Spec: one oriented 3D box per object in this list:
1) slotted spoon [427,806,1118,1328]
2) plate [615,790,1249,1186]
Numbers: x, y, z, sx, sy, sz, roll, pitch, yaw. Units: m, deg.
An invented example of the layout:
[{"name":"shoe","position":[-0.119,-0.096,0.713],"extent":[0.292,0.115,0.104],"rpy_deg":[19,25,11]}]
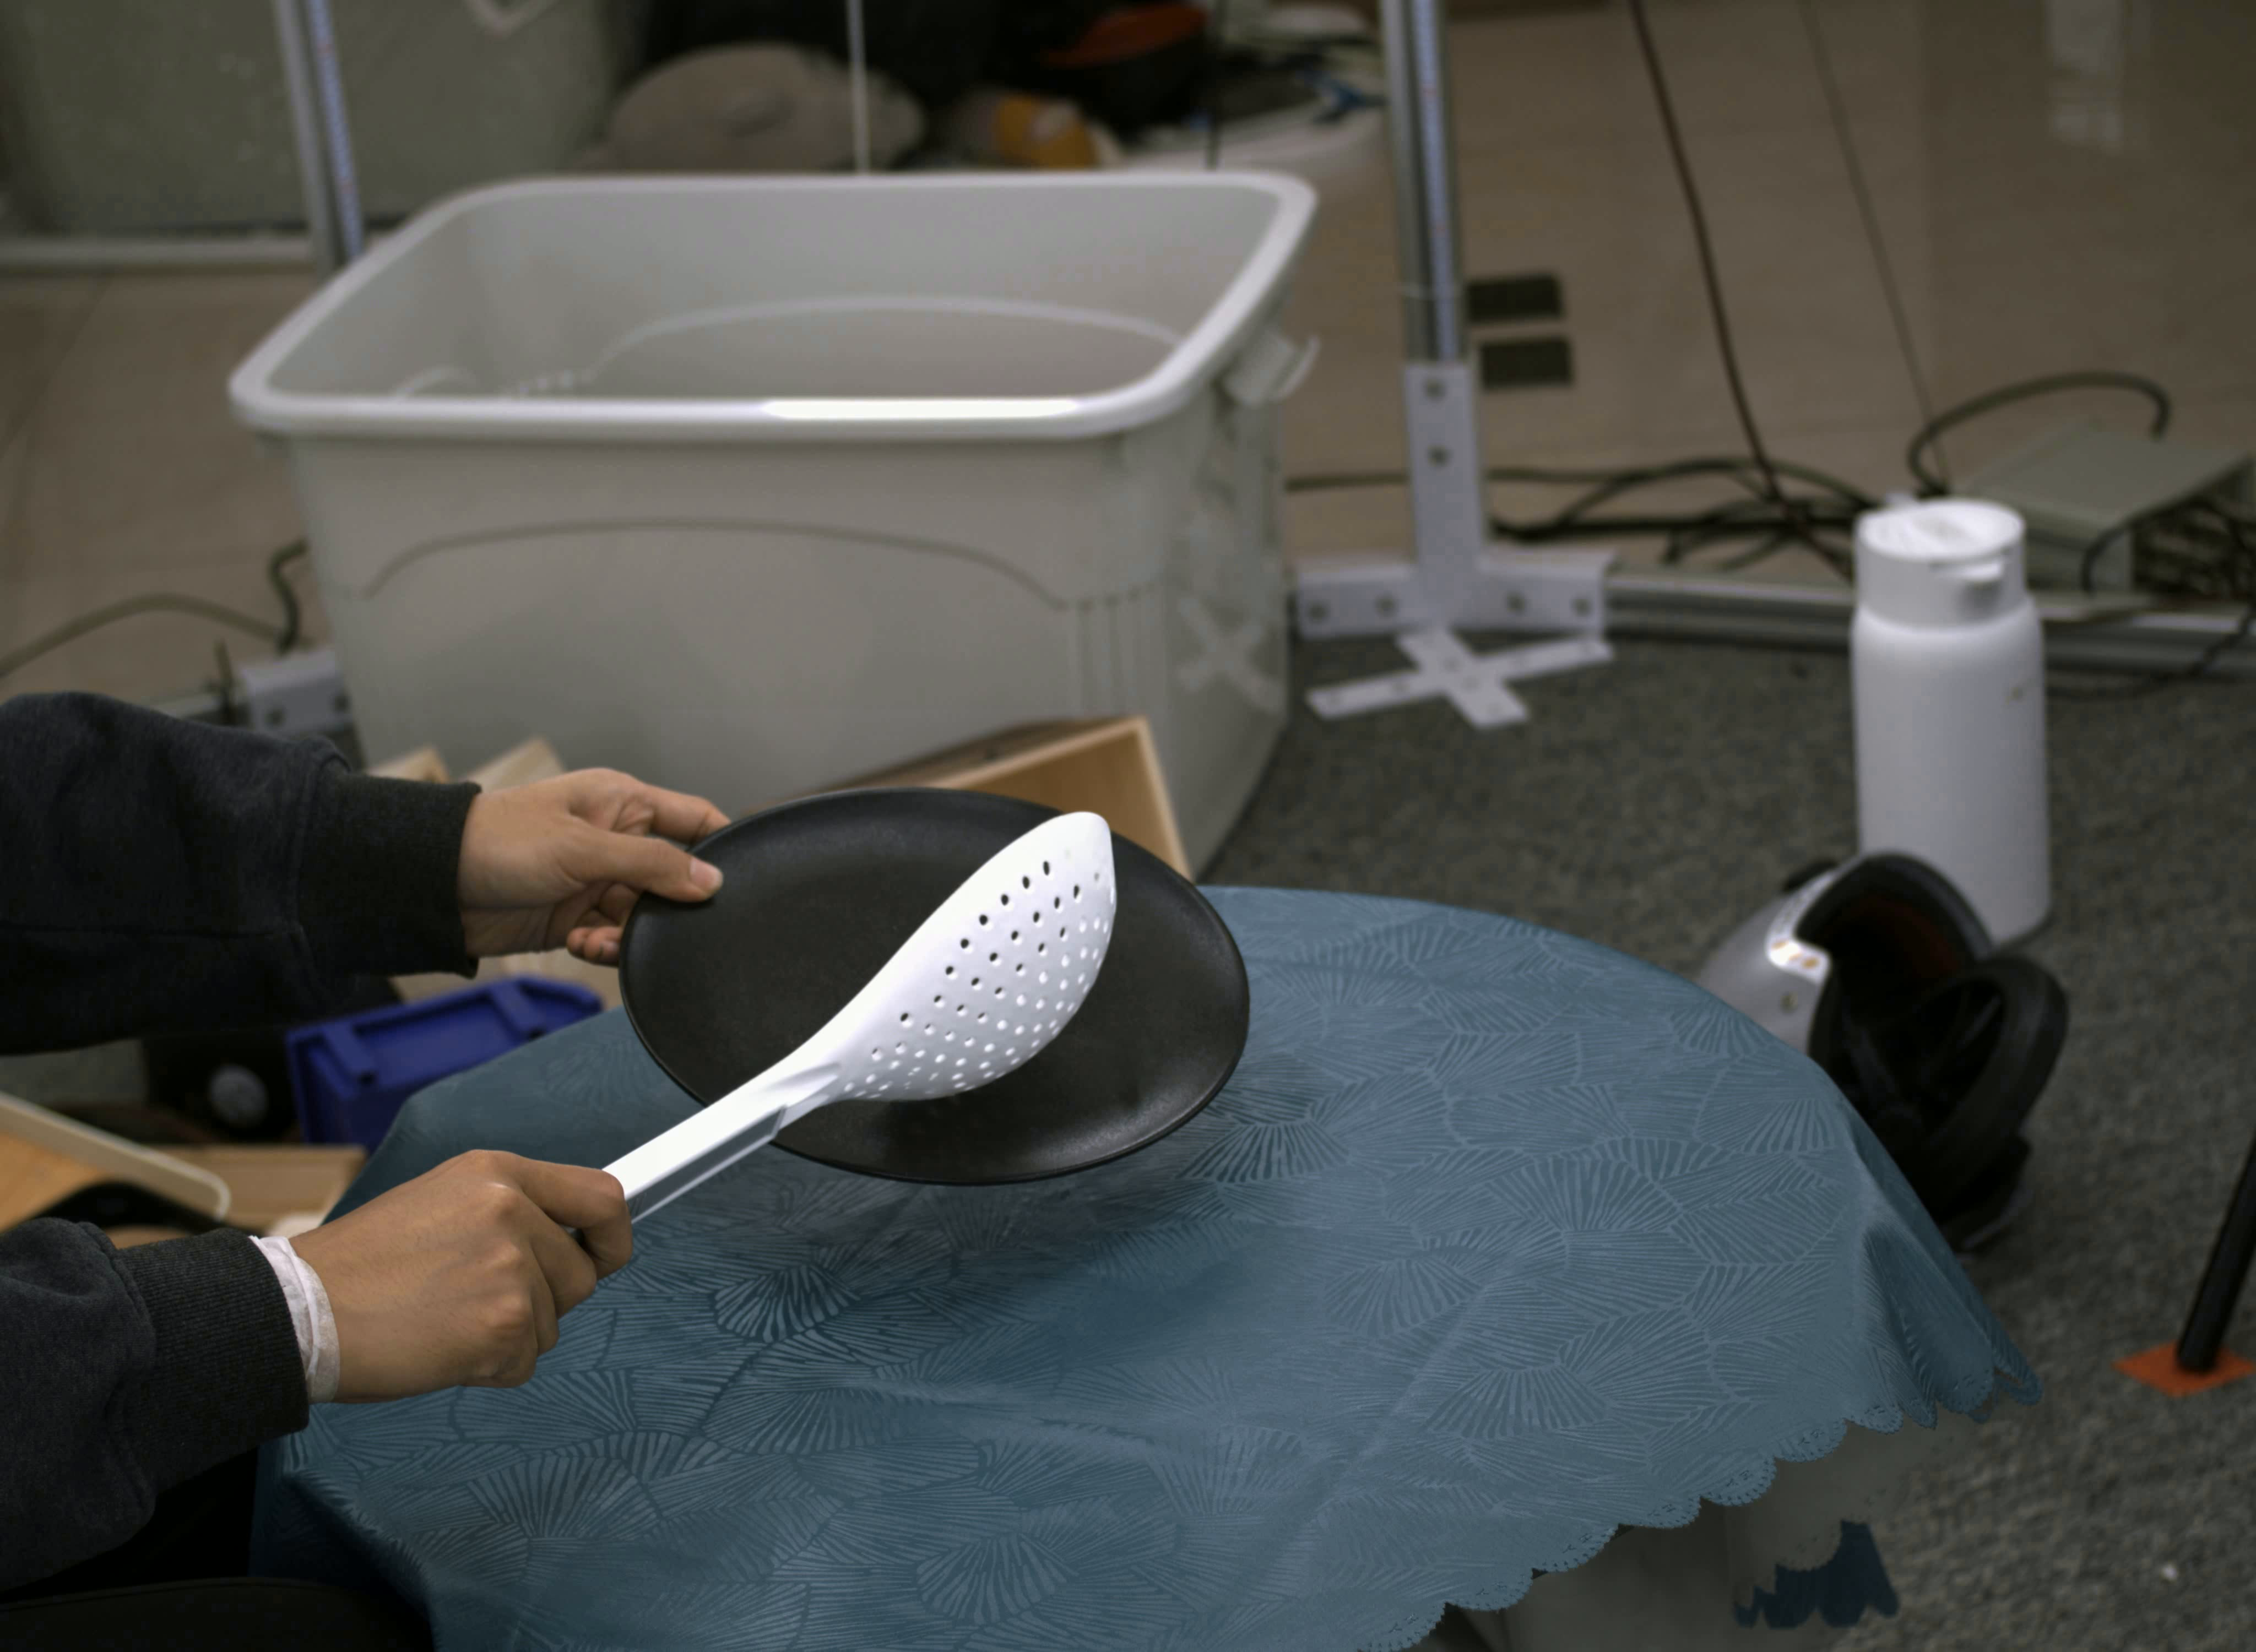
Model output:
[{"name":"slotted spoon","position":[-0.119,0.092,2.020],"extent":[0.347,0.138,0.045],"rpy_deg":[-25,60,-39]},{"name":"plate","position":[-0.075,0.066,2.174],"extent":[0.244,0.024,0.240],"rpy_deg":[5,37,-4]}]
